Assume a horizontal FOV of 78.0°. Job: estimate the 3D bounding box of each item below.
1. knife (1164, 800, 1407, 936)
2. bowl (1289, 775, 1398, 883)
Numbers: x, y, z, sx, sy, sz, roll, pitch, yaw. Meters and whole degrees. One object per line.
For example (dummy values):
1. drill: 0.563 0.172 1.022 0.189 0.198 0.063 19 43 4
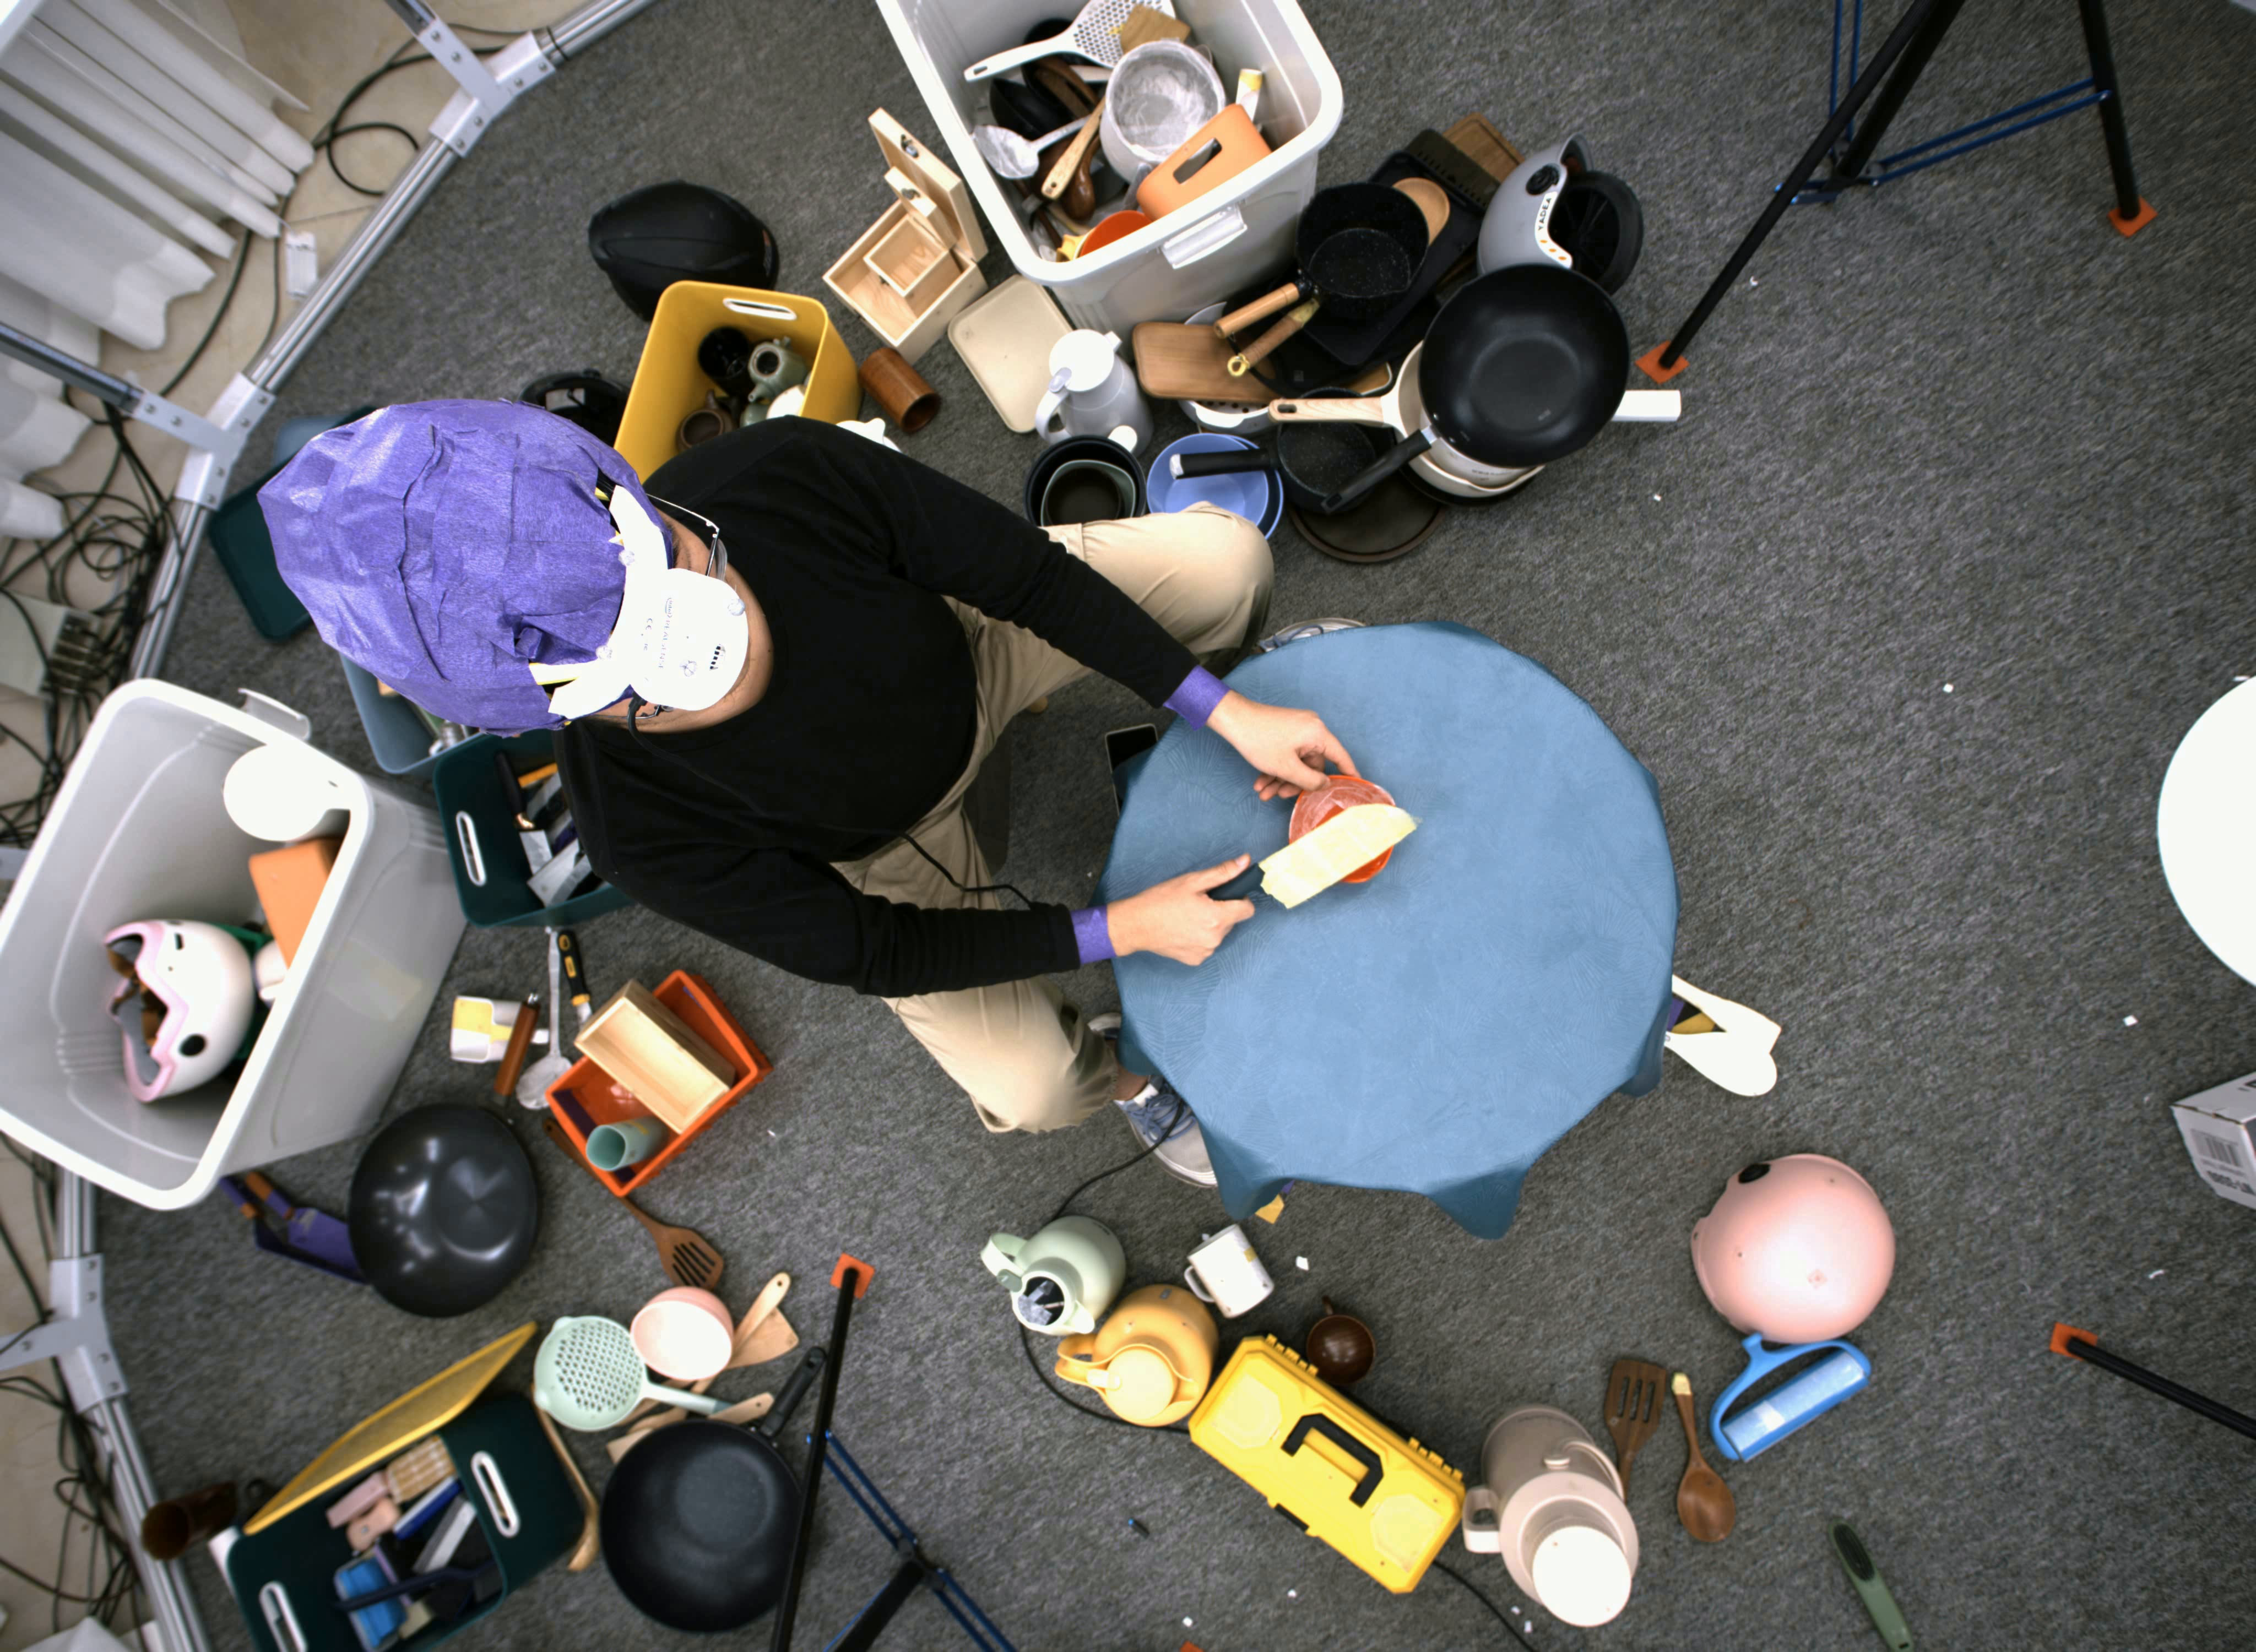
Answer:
1. knife: 0.160 0.049 1.419 0.294 0.026 0.082 -30 124 26
2. bowl: 0.226 0.004 1.446 0.119 0.051 0.118 0 88 10
